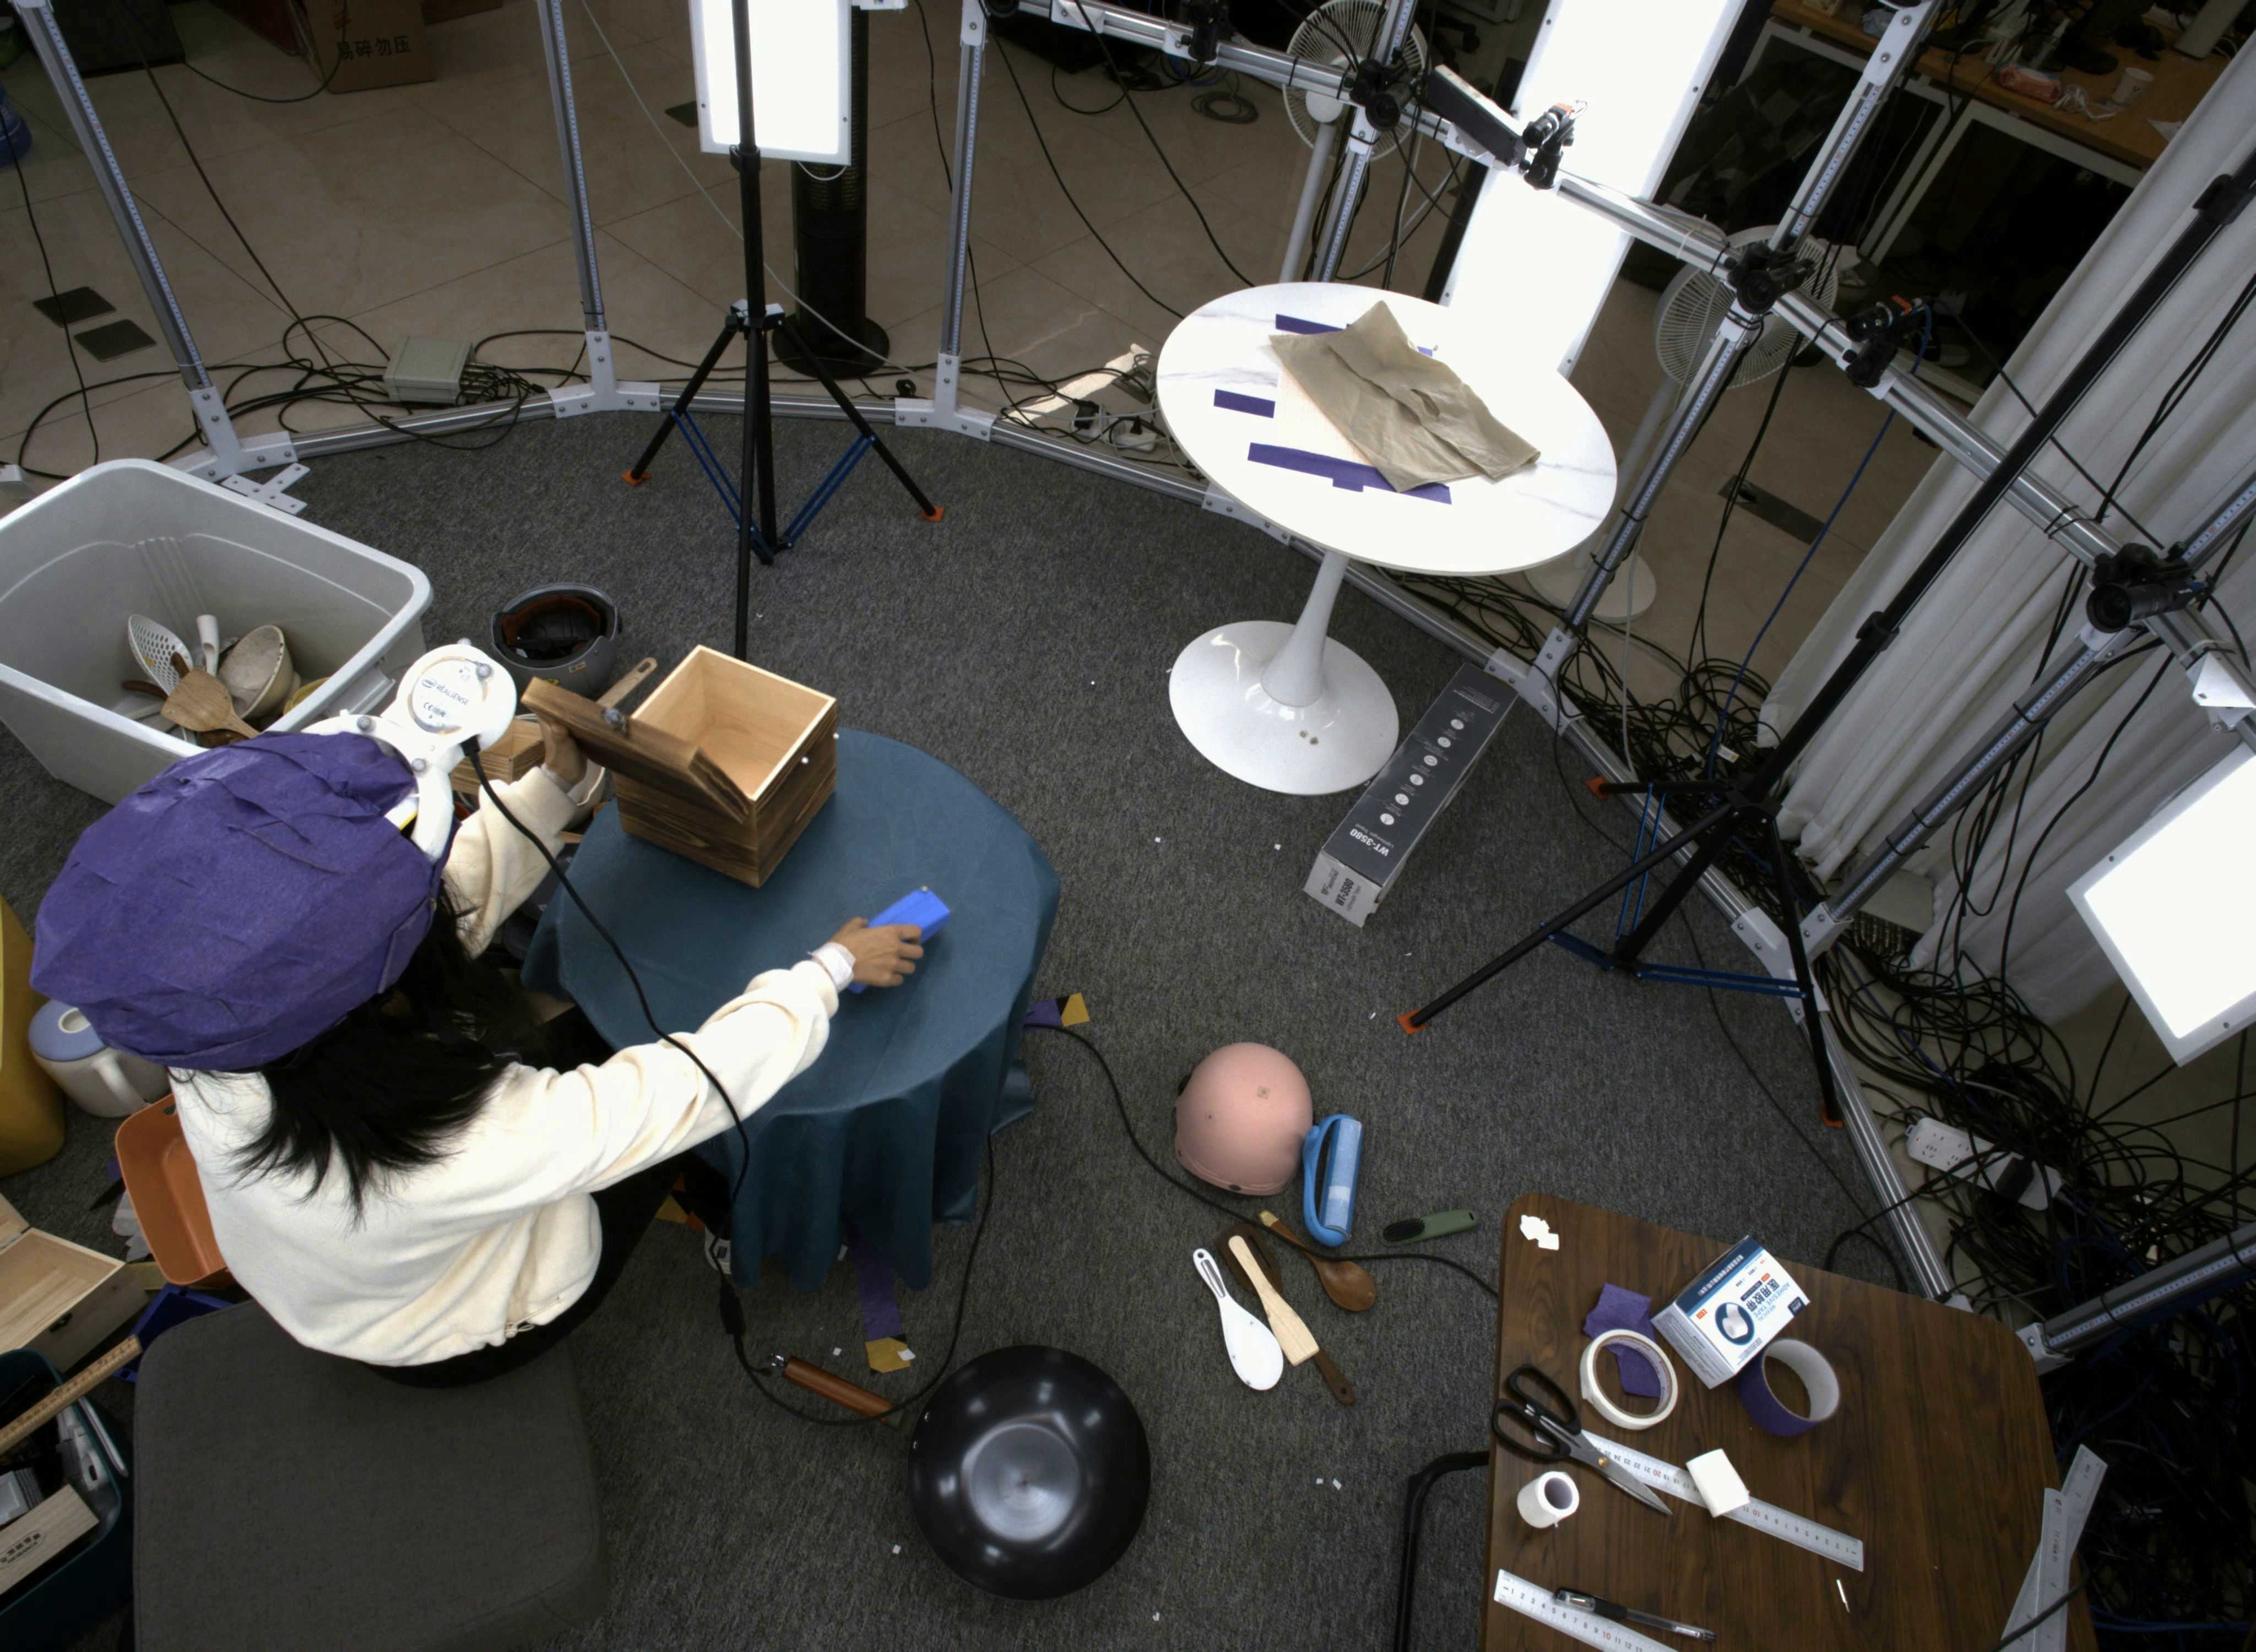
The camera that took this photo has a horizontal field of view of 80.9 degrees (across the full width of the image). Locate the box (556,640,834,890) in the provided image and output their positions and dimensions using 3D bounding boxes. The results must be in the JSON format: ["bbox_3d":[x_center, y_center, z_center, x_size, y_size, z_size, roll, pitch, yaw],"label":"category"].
[{"bbox_3d":[-0.511,-0.110,1.530,0.206,0.384,0.319,21,48,6],"label":"box"}]

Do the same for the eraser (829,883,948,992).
[{"bbox_3d":[-0.291,0.130,1.587,0.053,0.048,0.162,40,56,14],"label":"eraser"}]
